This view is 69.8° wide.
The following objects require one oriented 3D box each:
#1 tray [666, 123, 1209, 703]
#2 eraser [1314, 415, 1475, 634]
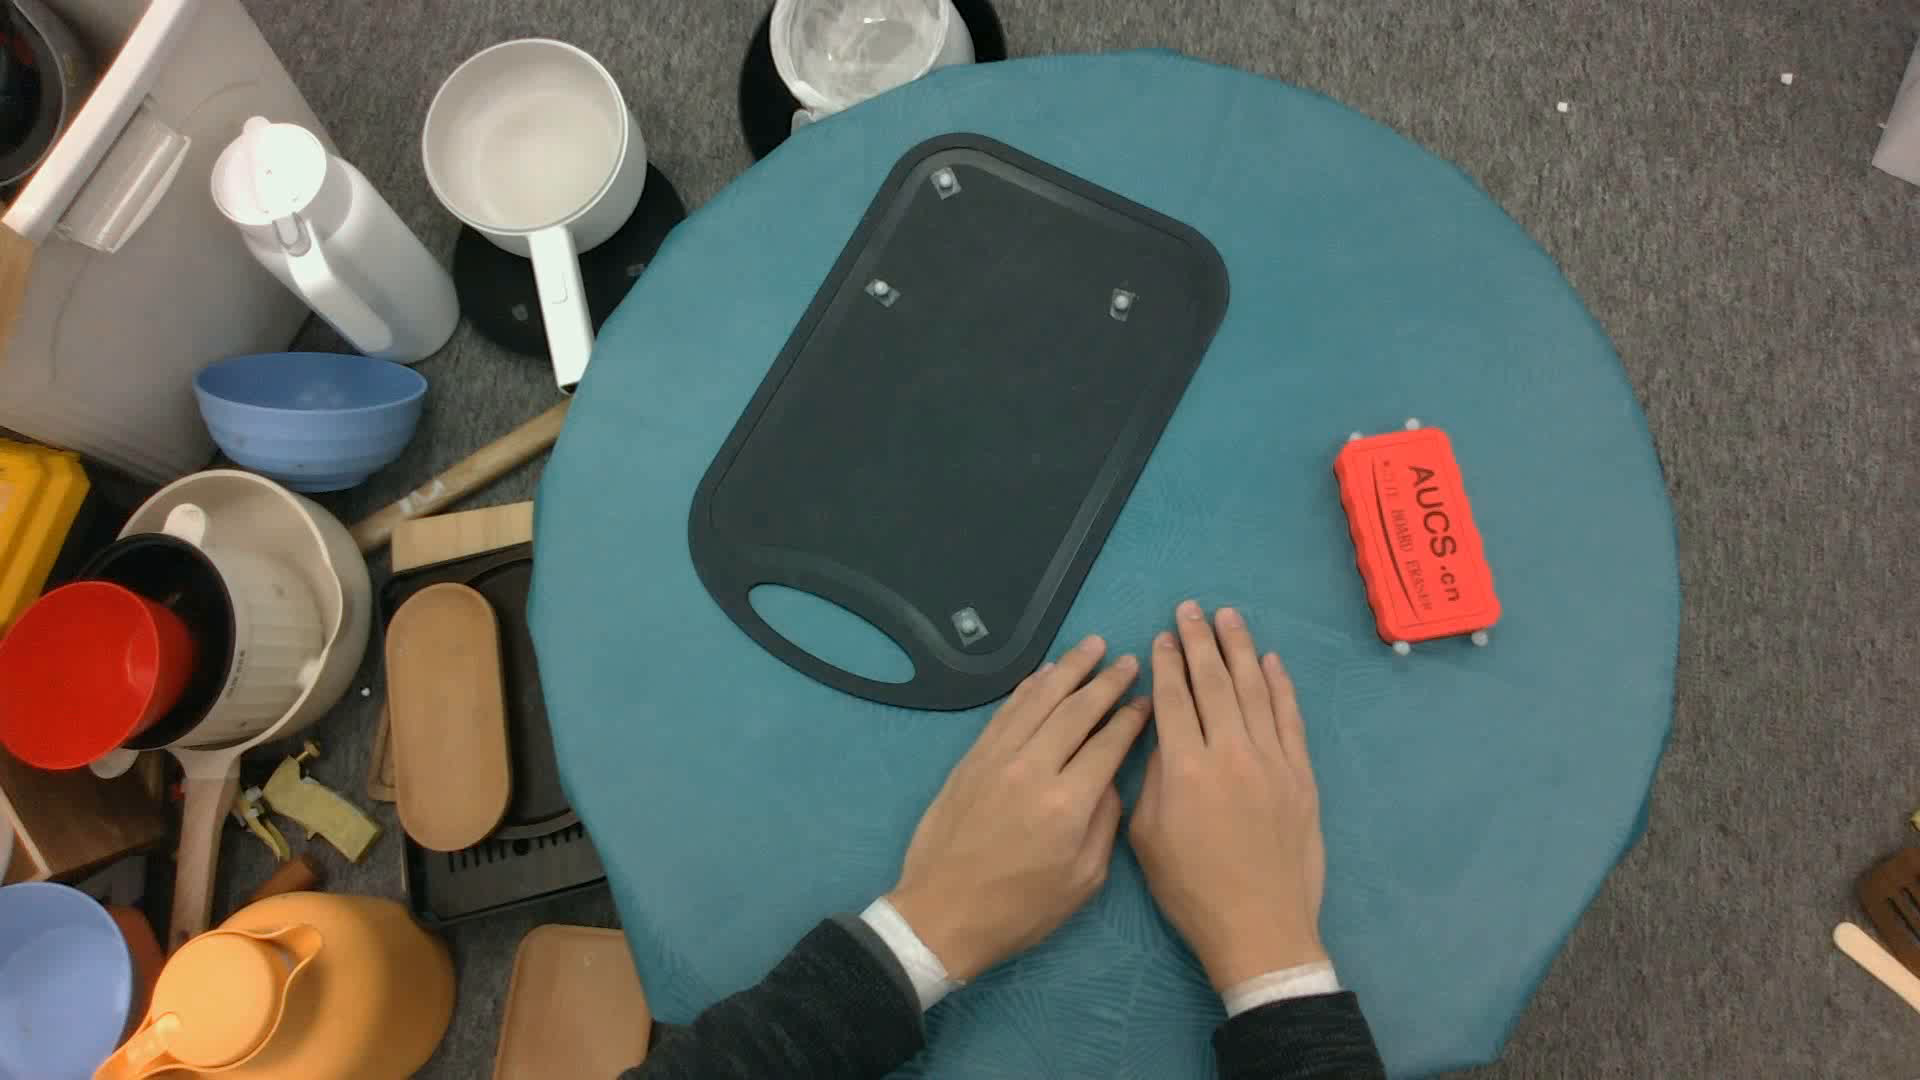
[{"bbox_3d":[-0.013,-0.074,0.747,0.211,0.010,0.326,27,76,10],"label":"tray"},{"bbox_3d":[0.223,-0.009,0.711,0.059,0.023,0.108,-10,73,1],"label":"eraser"}]
